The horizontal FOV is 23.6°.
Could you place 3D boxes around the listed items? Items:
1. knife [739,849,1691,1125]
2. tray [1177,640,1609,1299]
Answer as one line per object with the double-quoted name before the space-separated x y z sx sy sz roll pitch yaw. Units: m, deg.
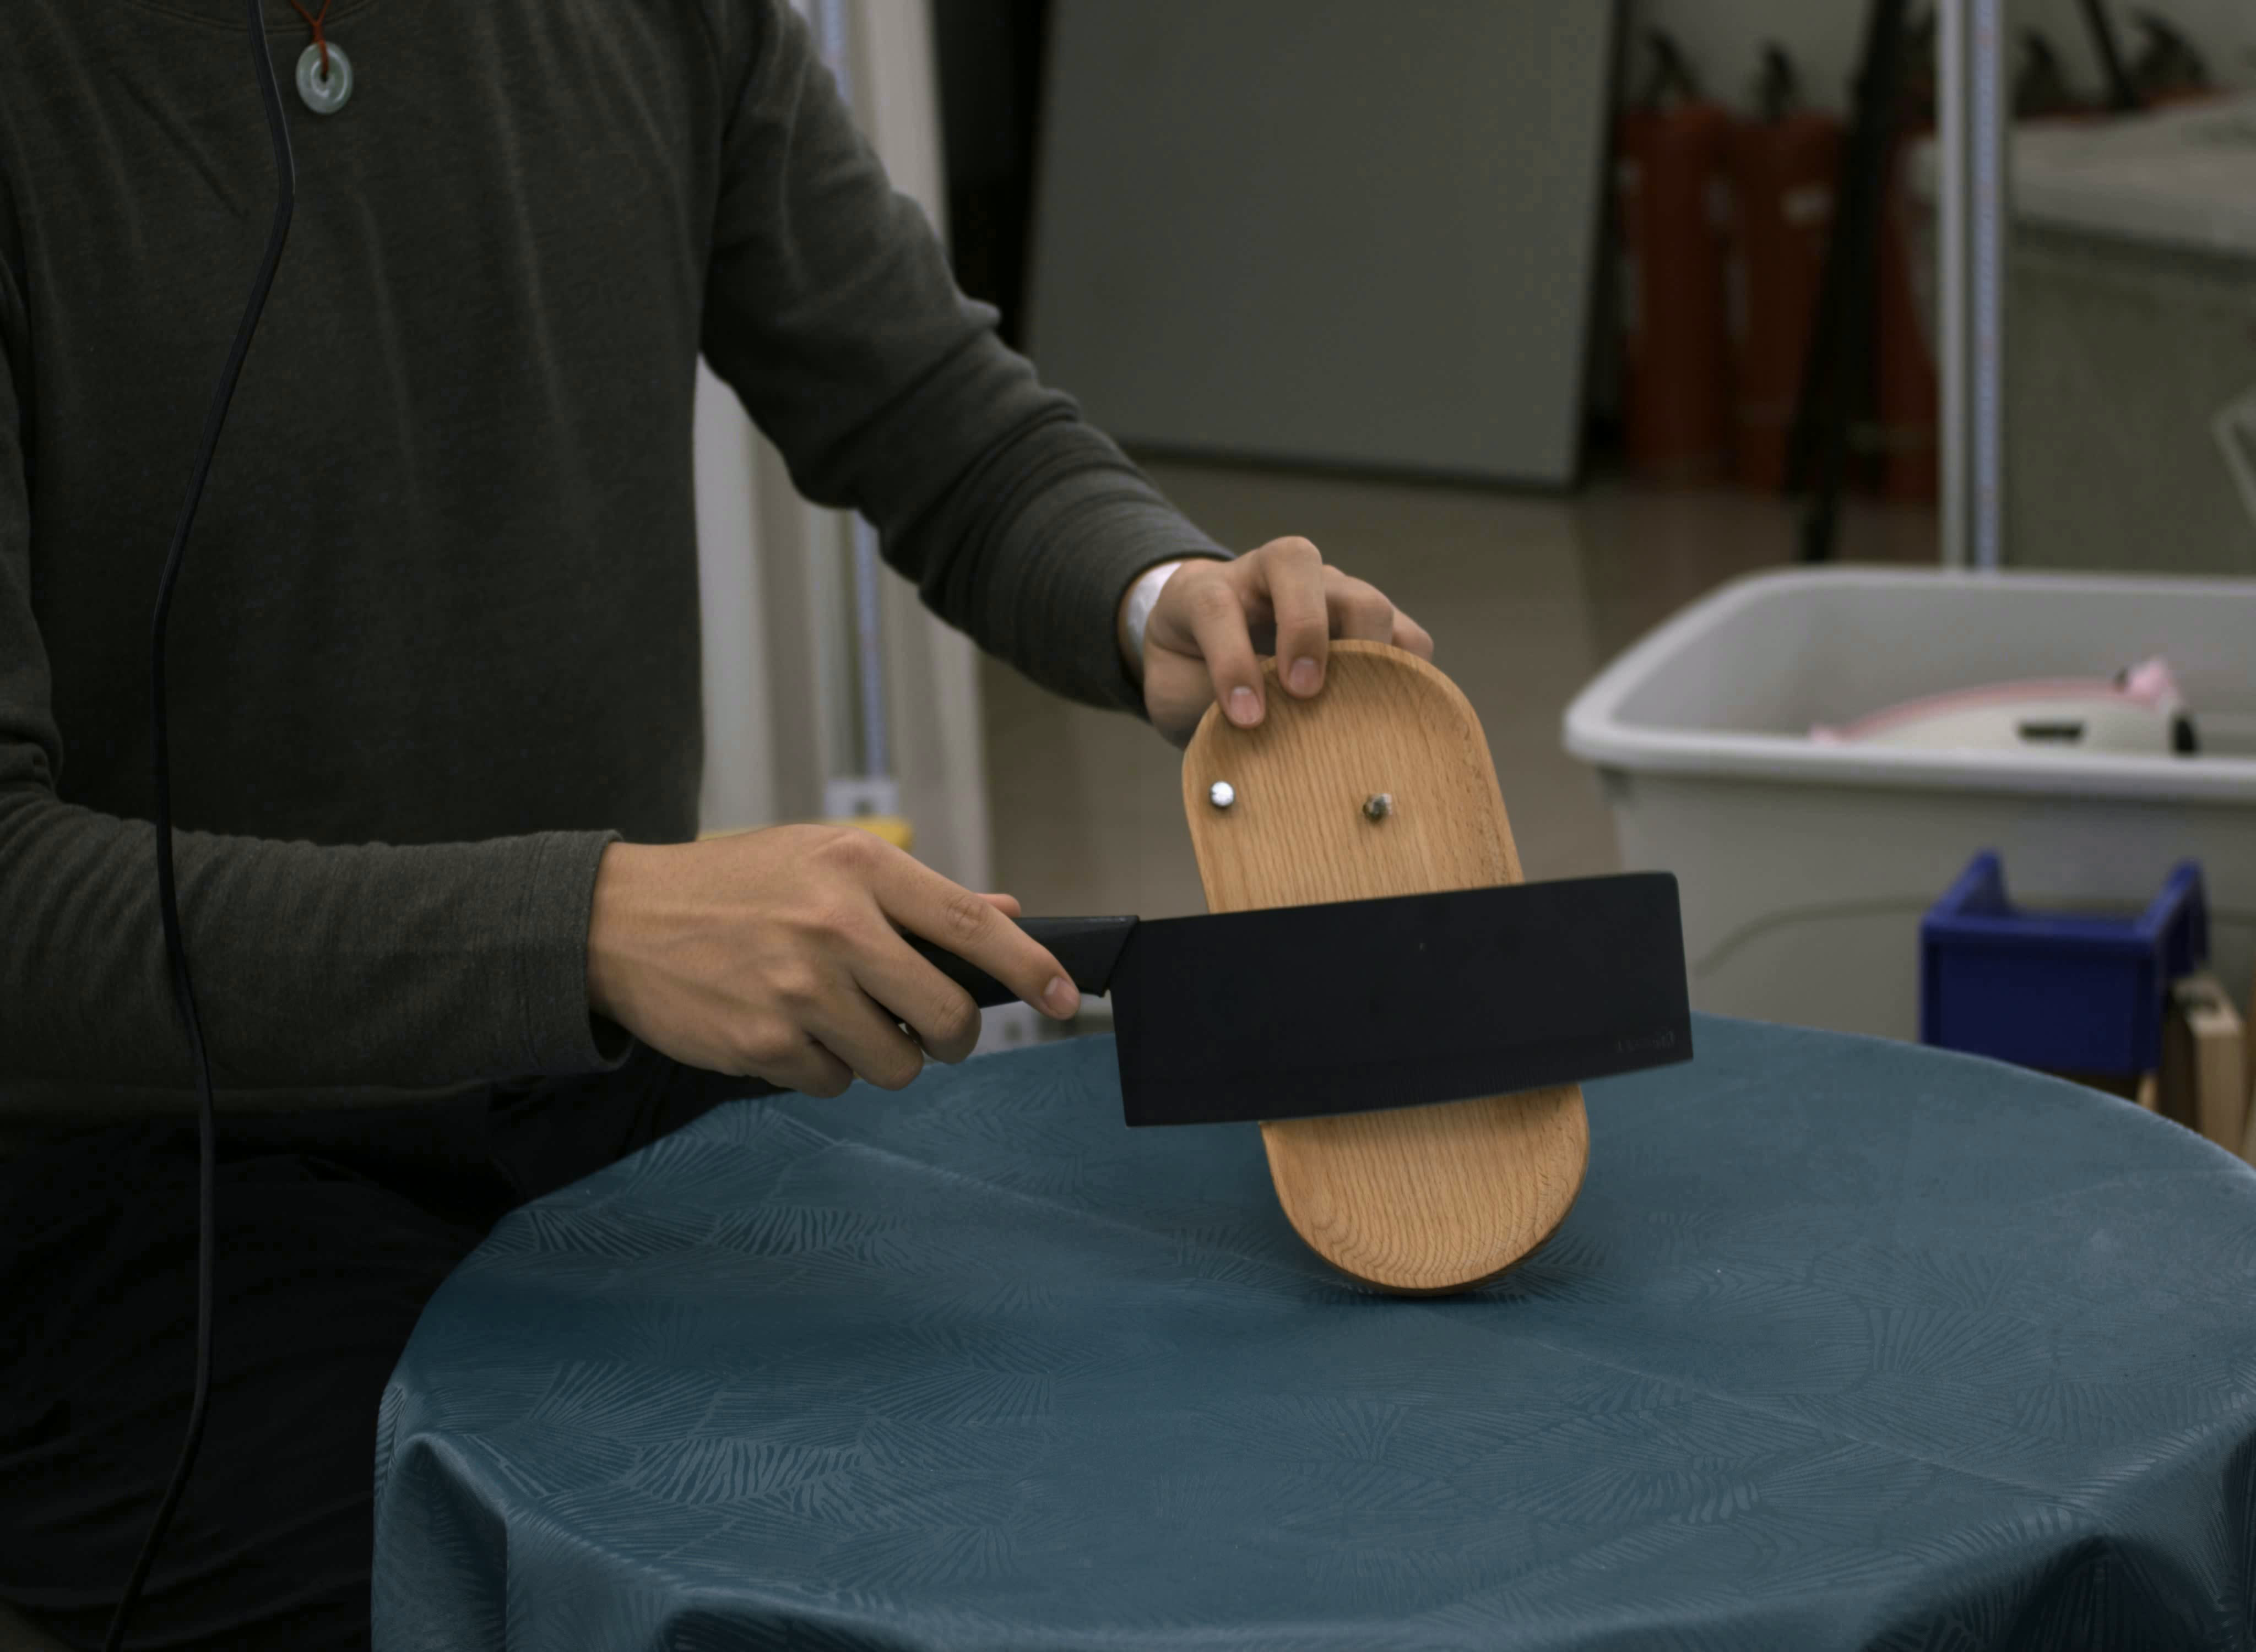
"knife" 0.025 0.053 1.675 0.300 0.082 0.021 -2 0 11
"tray" 0.083 0.043 1.696 0.101 0.234 0.020 -19 -29 5
